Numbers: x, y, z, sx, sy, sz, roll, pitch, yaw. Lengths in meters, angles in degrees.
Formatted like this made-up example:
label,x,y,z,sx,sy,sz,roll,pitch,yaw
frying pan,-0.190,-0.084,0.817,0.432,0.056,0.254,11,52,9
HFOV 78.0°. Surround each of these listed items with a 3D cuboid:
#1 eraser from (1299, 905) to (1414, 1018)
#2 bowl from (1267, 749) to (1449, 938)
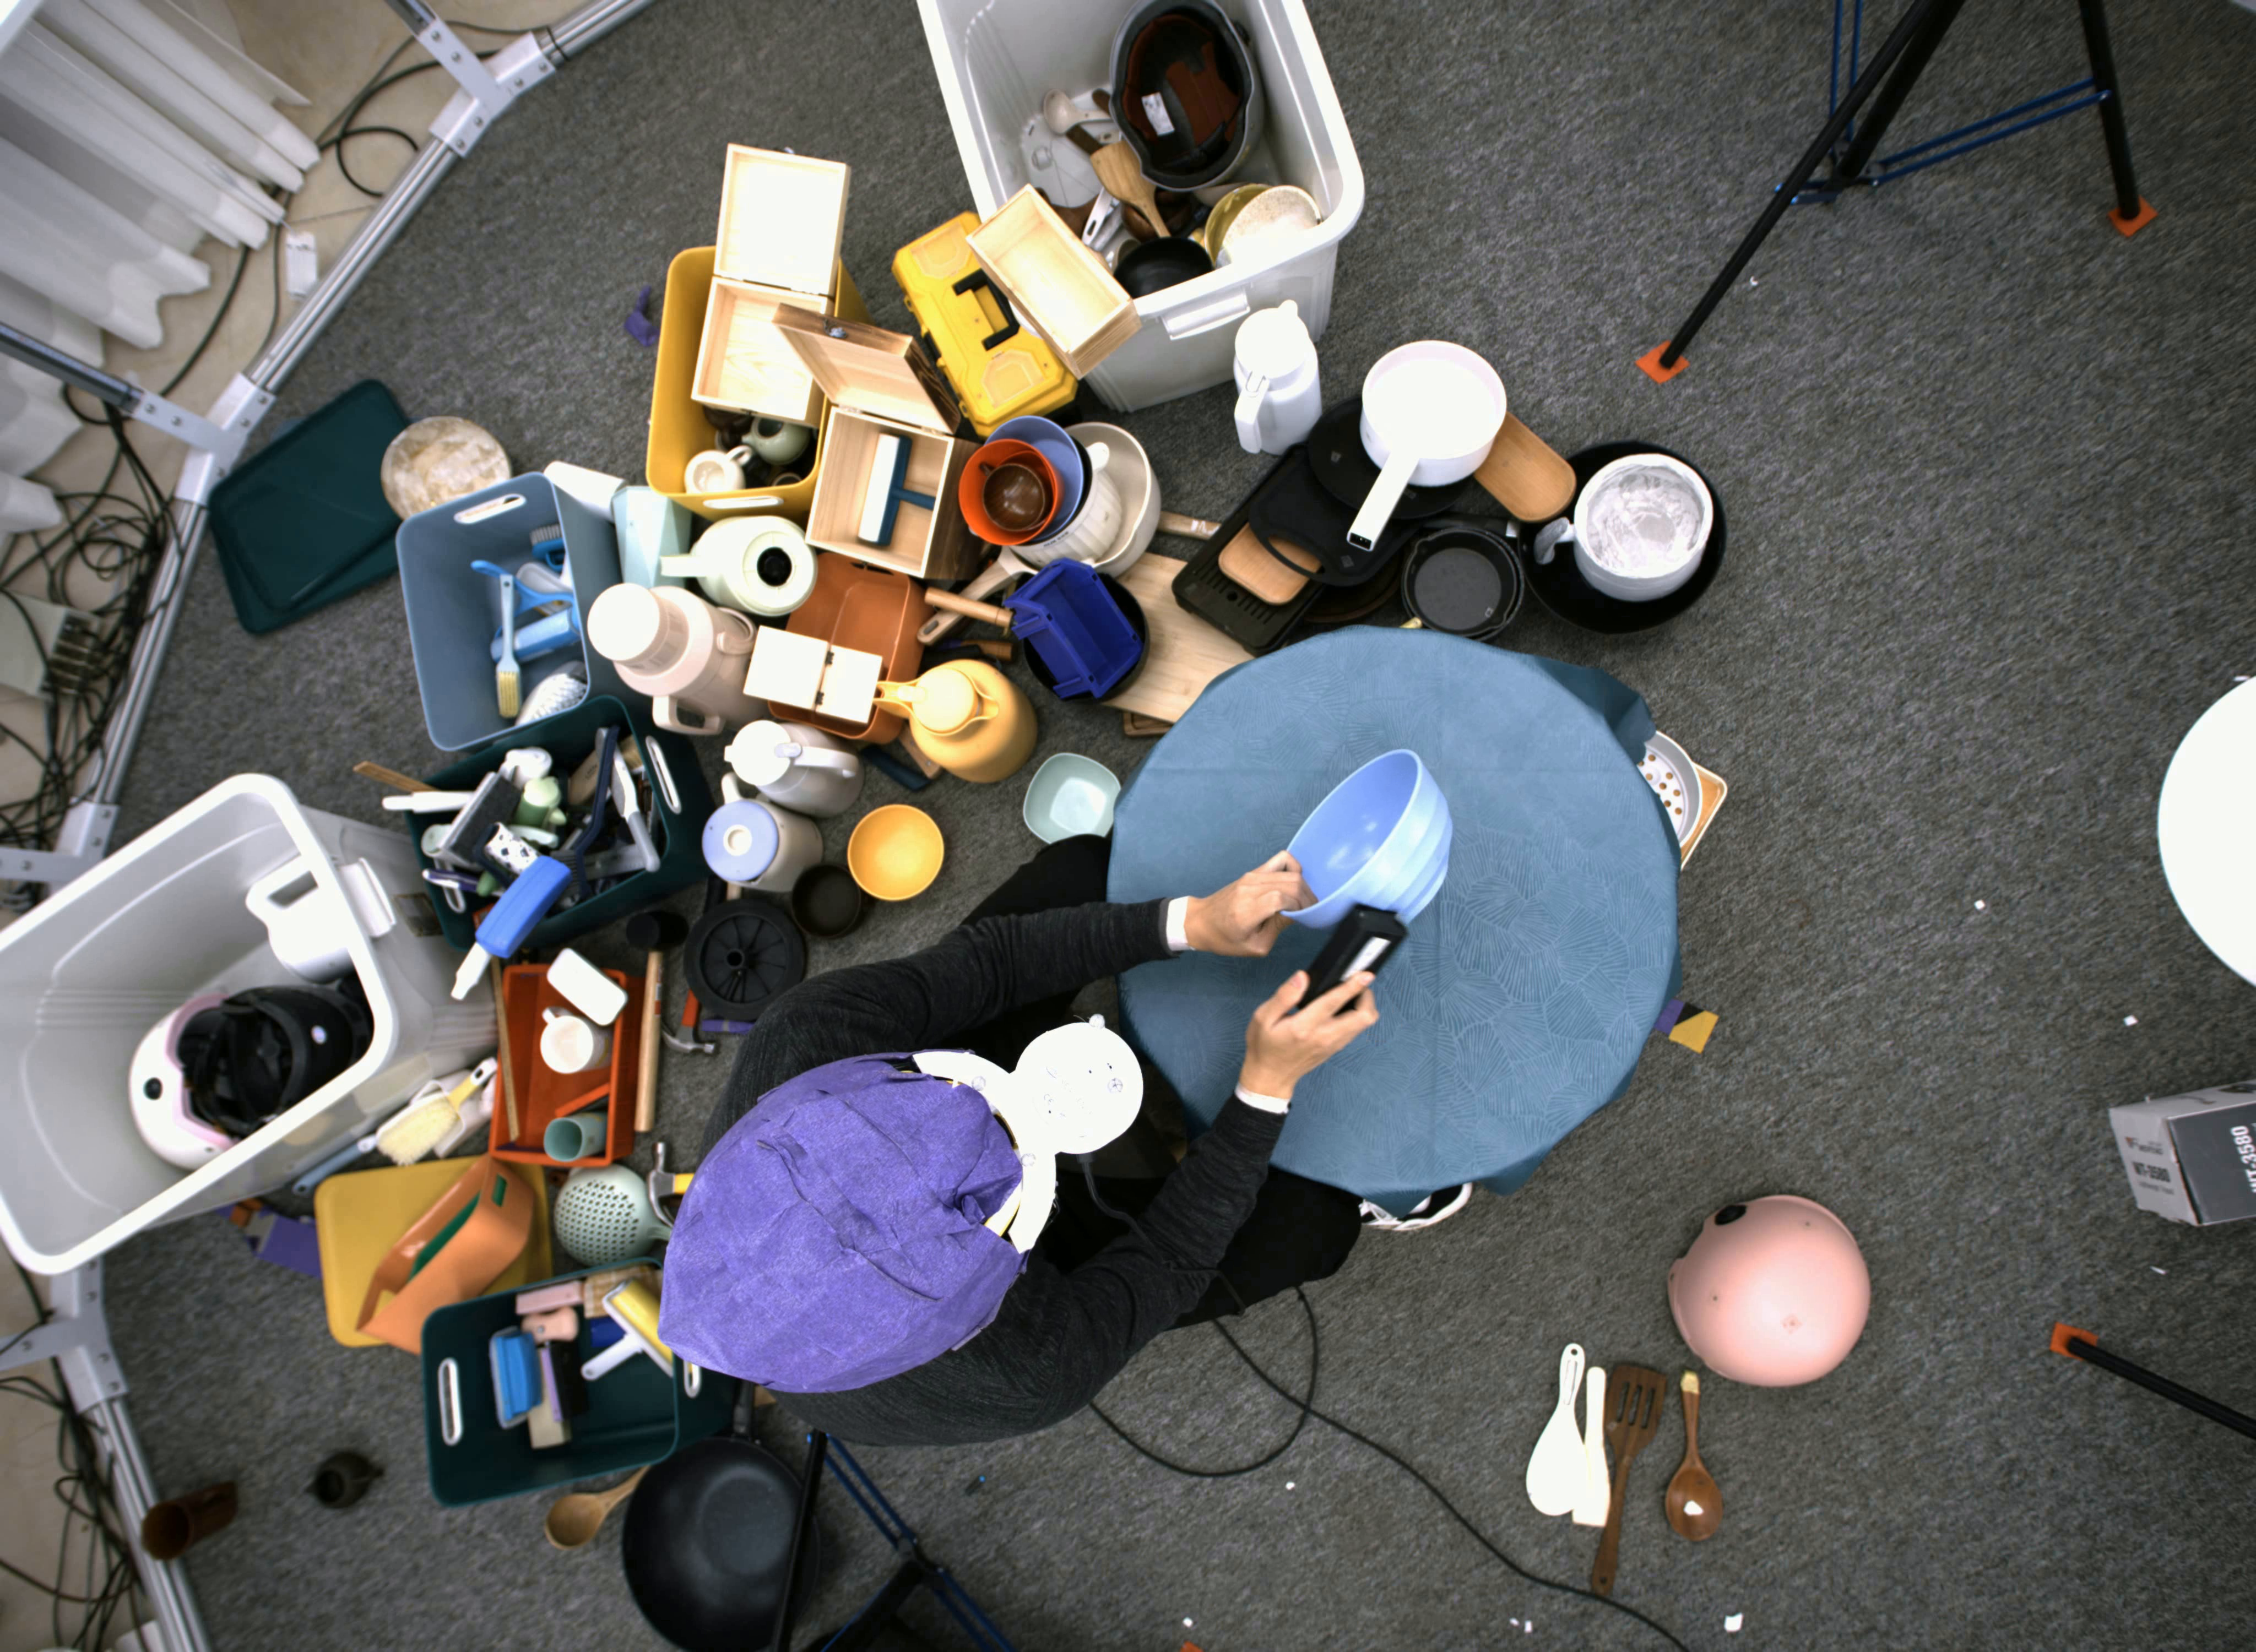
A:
label,x,y,z,sx,sy,sz,roll,pitch,yaw
eraser,0.206,0.124,1.262,0.053,0.029,0.129,11,133,-20
bowl,0.234,0.031,1.314,0.096,0.195,0.197,35,92,-20
